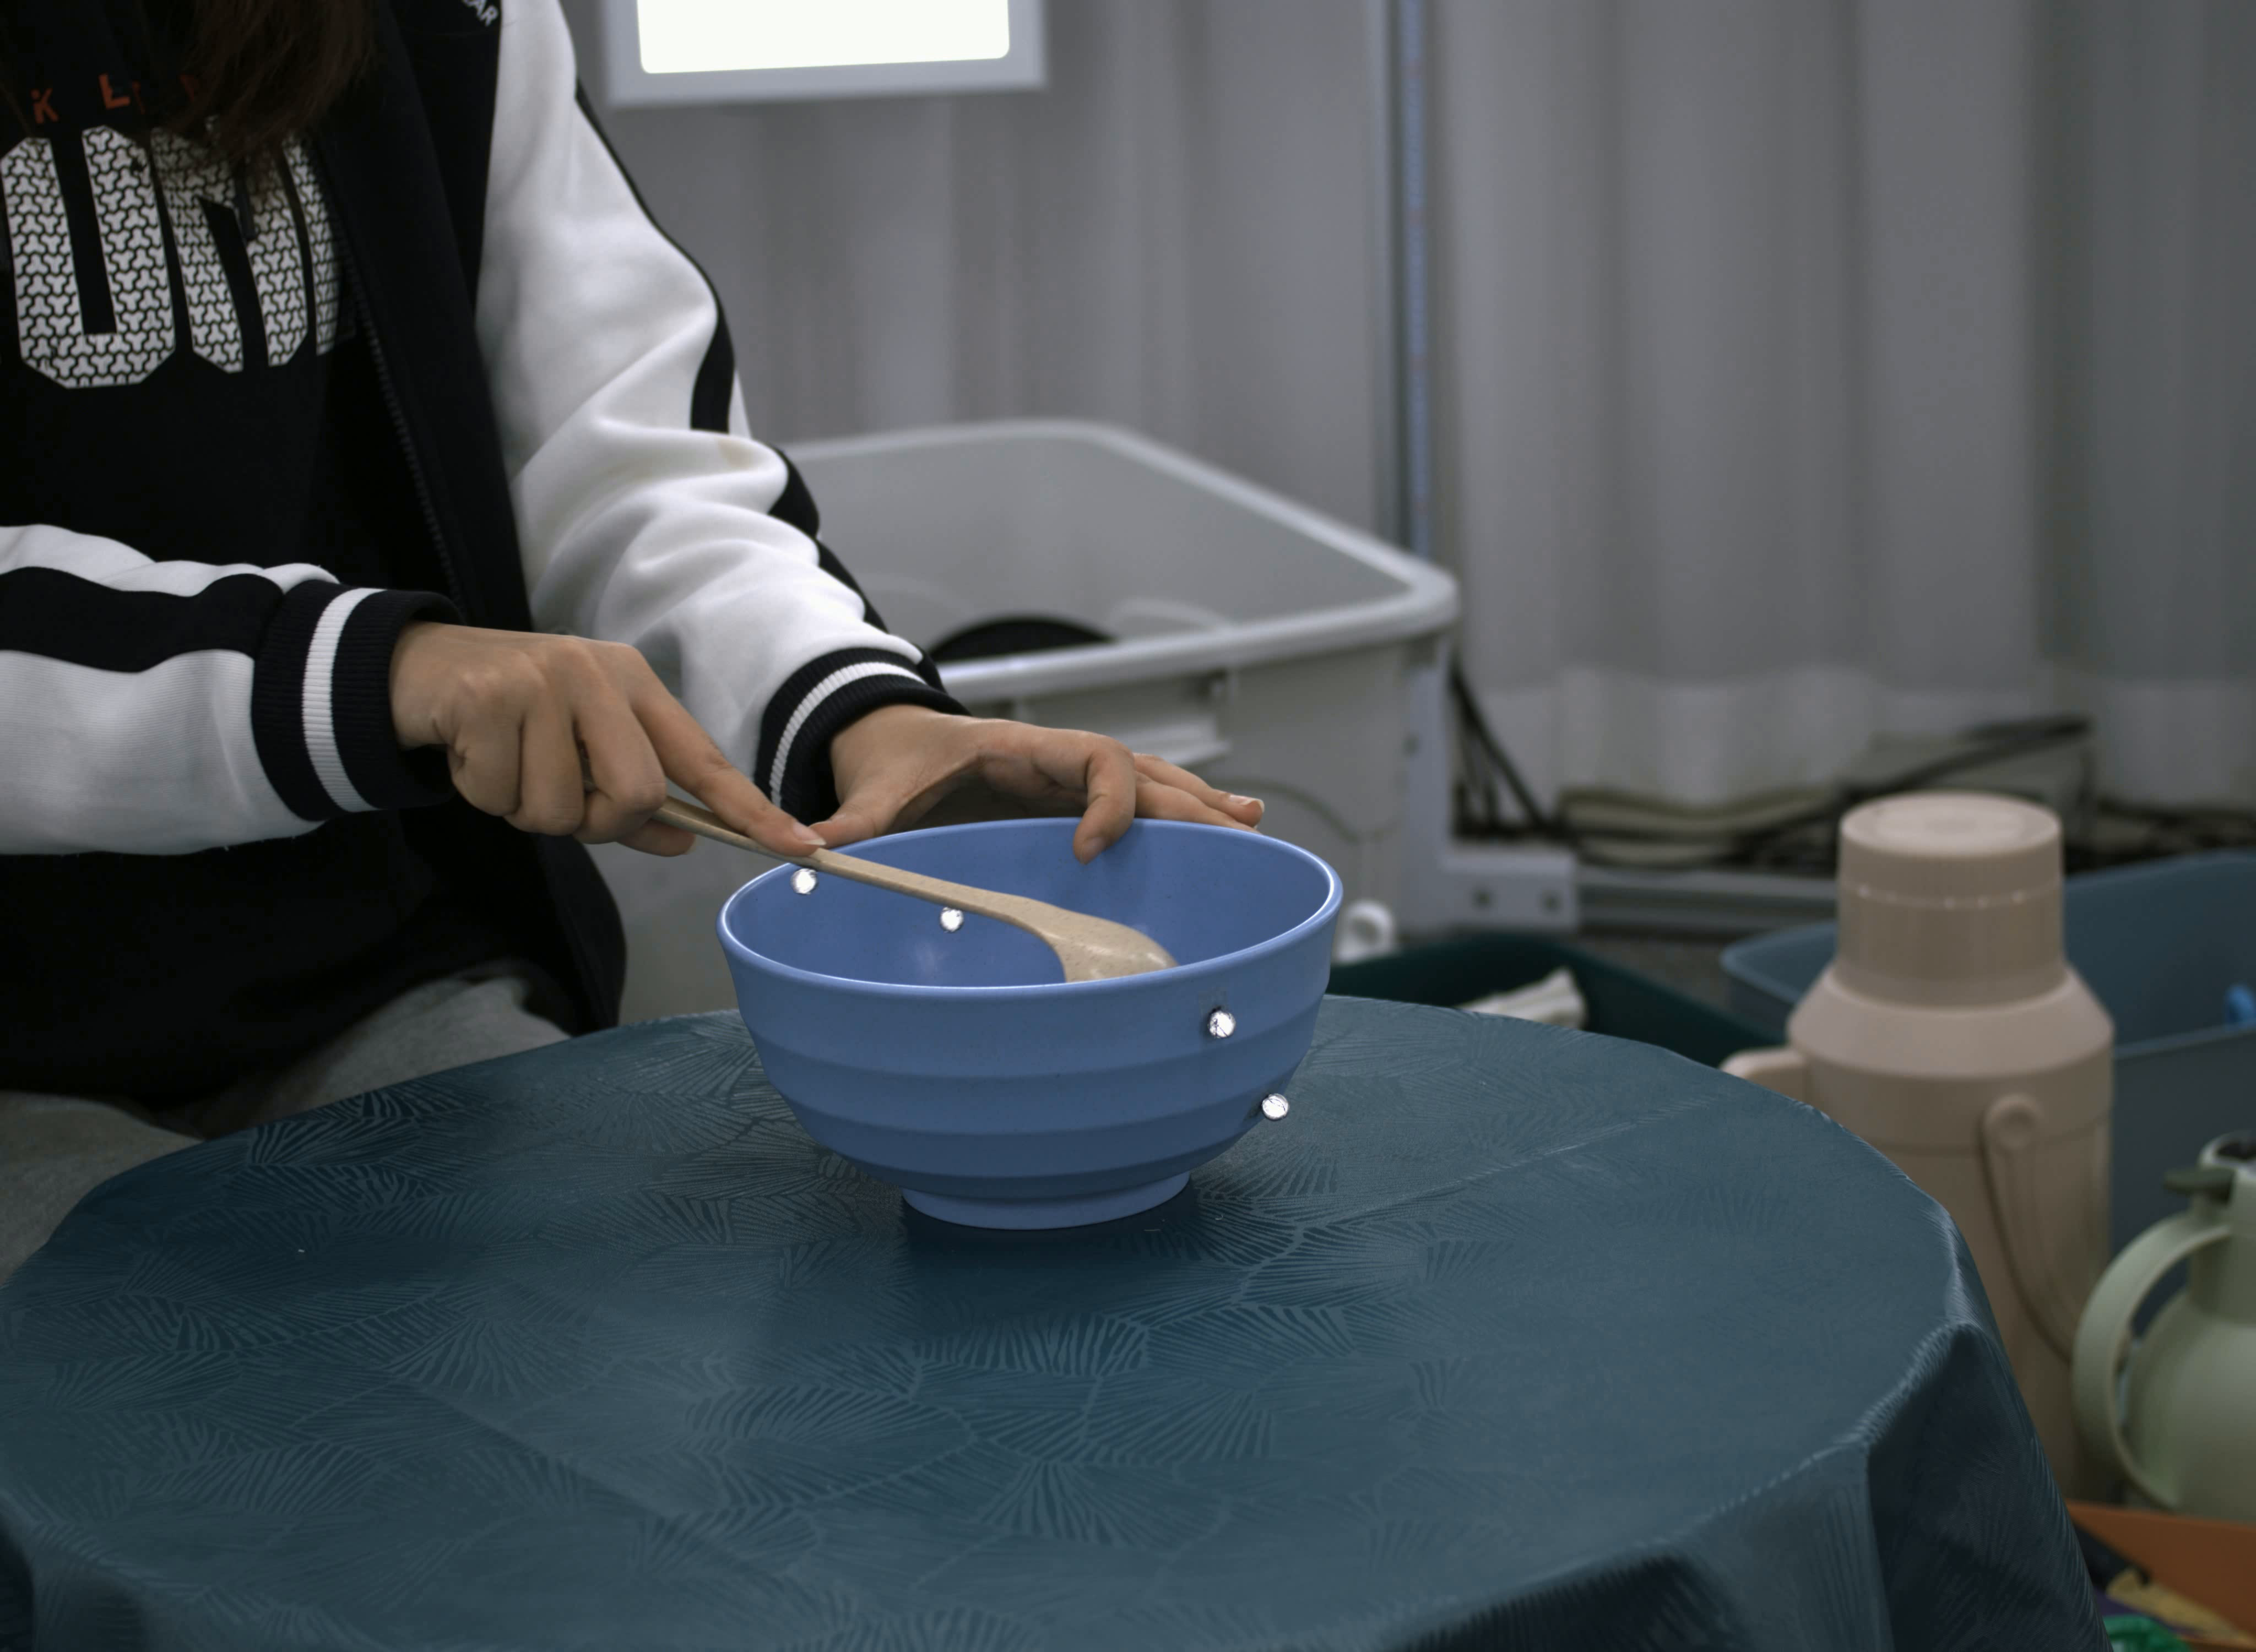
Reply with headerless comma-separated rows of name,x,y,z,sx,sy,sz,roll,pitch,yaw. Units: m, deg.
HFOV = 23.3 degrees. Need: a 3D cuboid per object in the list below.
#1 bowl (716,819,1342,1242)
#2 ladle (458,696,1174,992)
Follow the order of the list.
bowl,-0.028,0.070,1.715,0.196,0.095,0.198,-4,15,1
ladle,-0.101,0.034,1.716,0.254,0.072,0.072,20,22,8
